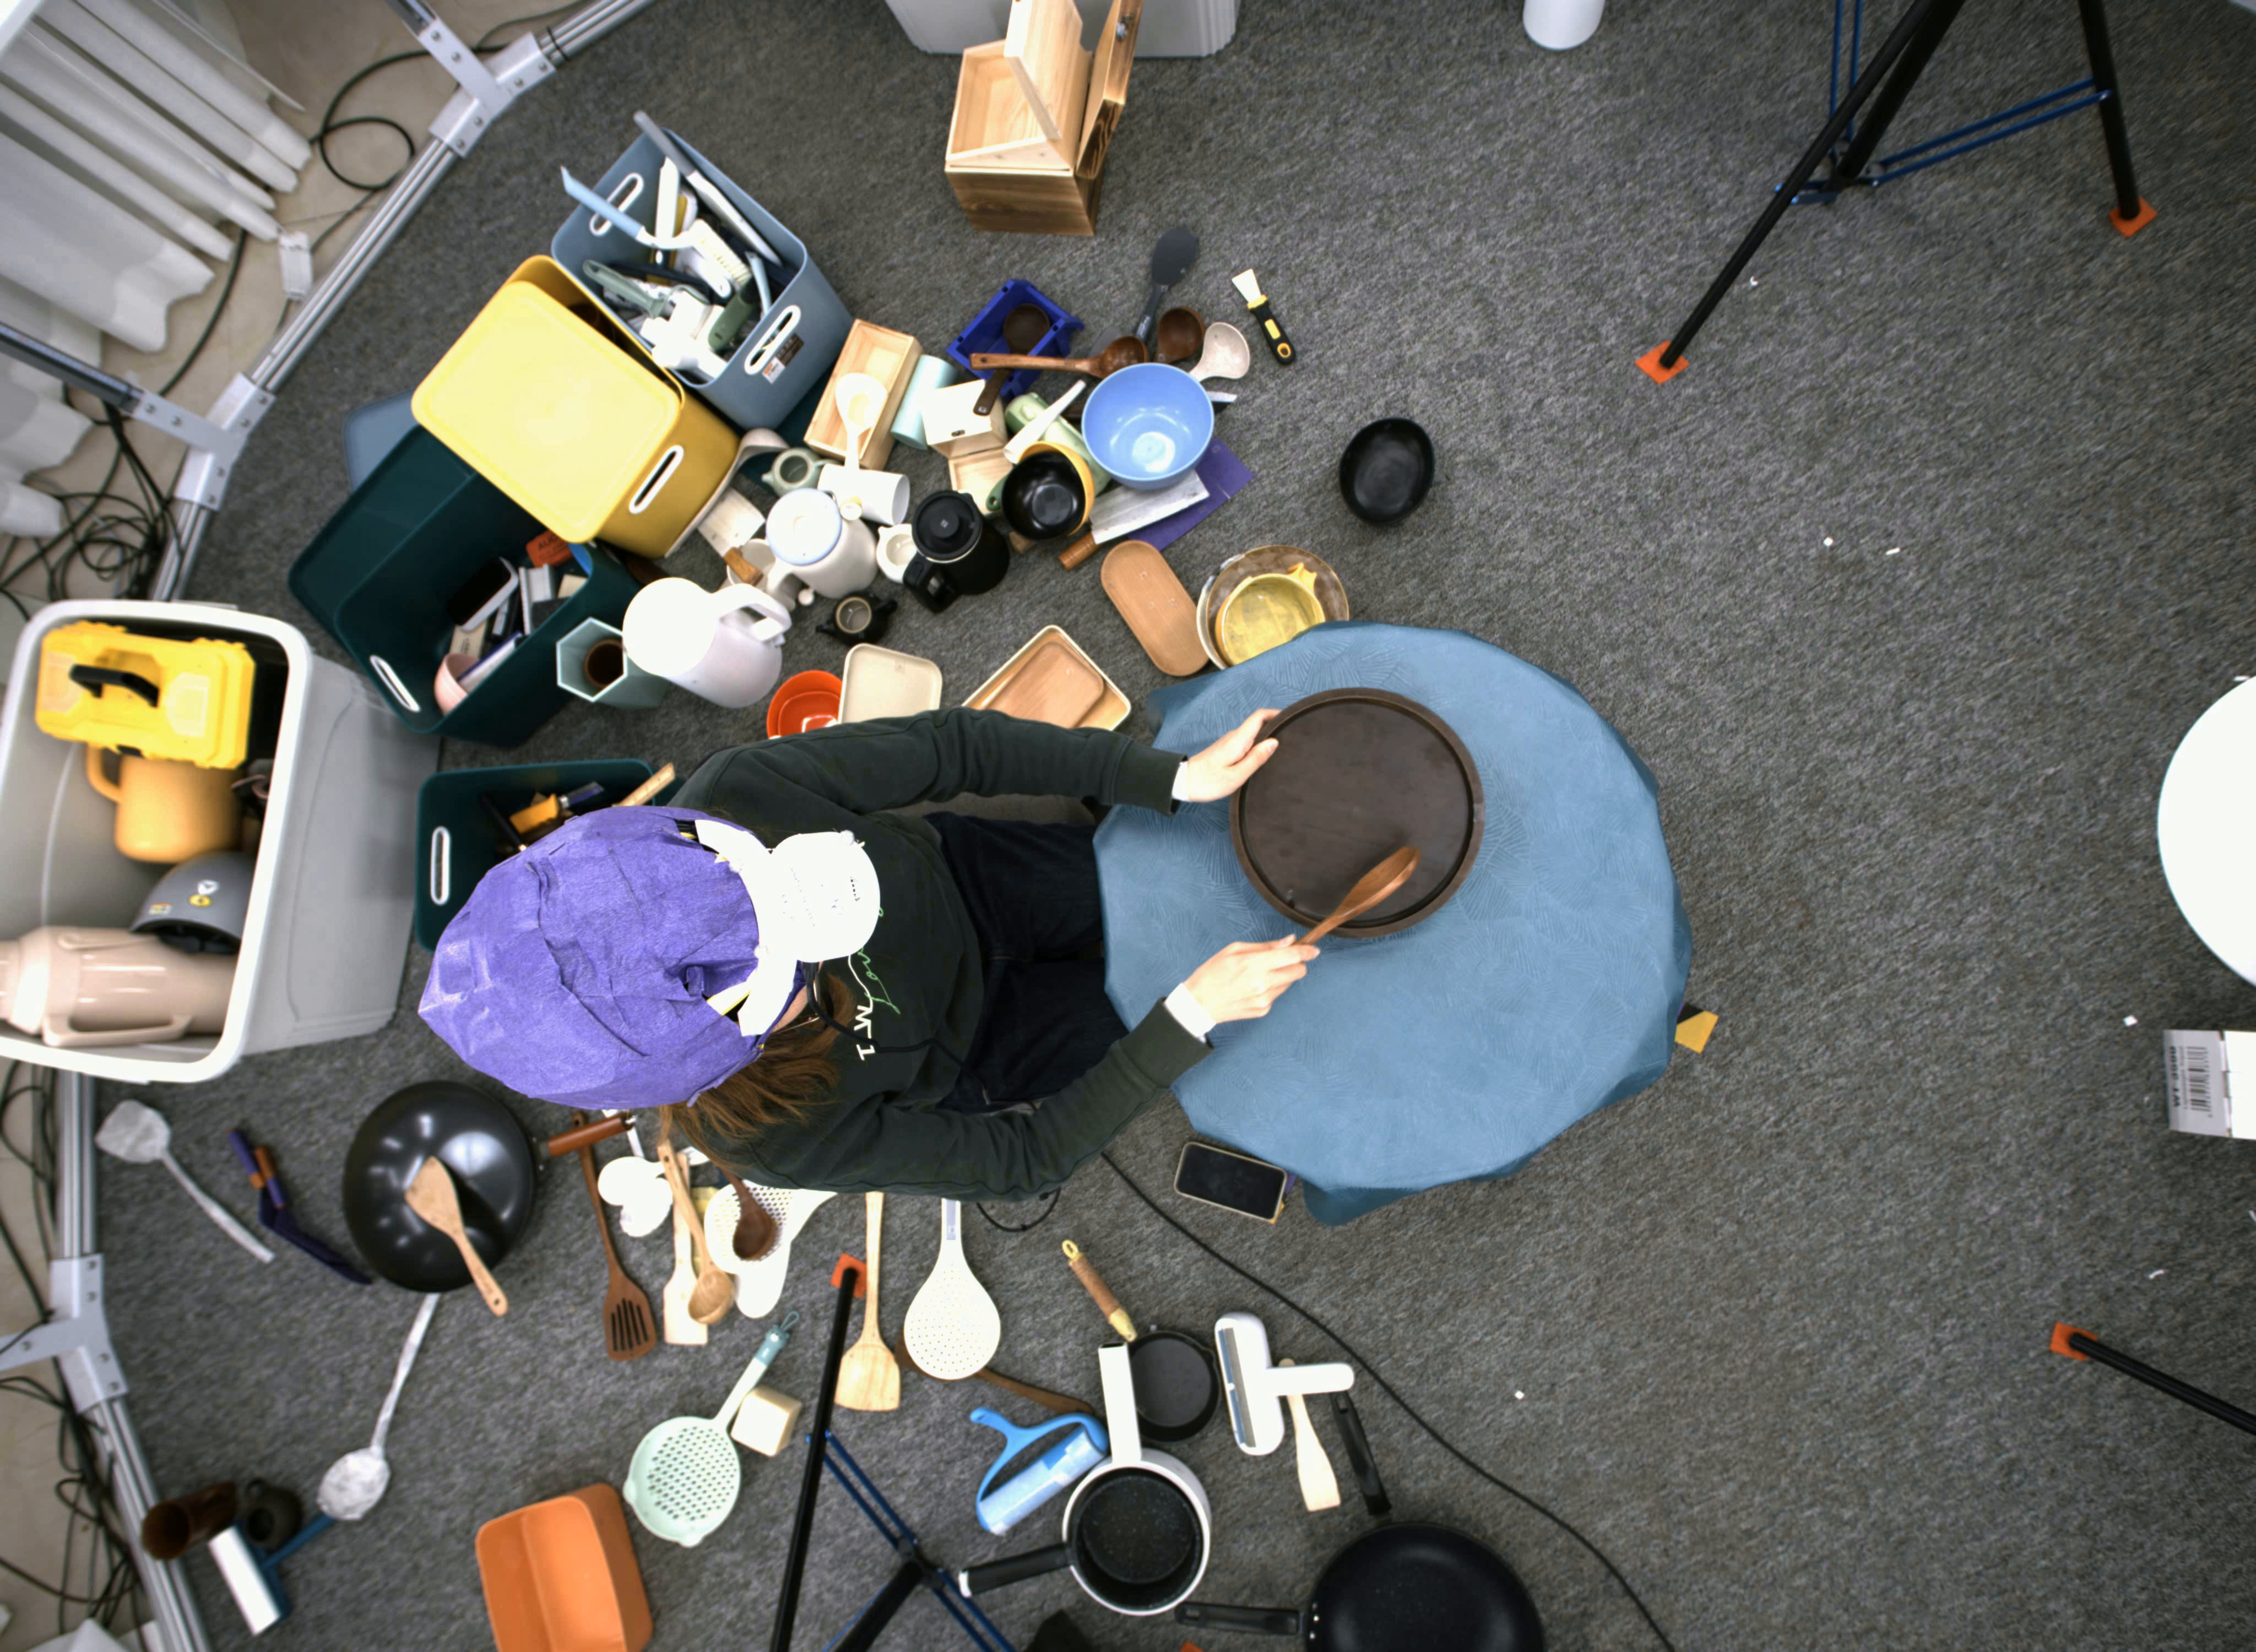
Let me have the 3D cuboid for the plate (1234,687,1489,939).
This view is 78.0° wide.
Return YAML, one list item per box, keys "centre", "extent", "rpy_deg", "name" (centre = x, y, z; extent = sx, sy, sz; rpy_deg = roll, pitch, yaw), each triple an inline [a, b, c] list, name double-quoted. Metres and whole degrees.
- centre: [0.232, -0.013, 1.381]
  extent: [0.255, 0.029, 0.256]
  rpy_deg: [1, 99, 10]
  name: "plate"

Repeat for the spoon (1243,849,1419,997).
- centre: [0.198, 0.095, 1.336]
  extent: [0.218, 0.074, 0.017]
  rpy_deg: [-40, 102, 12]
  name: "spoon"
